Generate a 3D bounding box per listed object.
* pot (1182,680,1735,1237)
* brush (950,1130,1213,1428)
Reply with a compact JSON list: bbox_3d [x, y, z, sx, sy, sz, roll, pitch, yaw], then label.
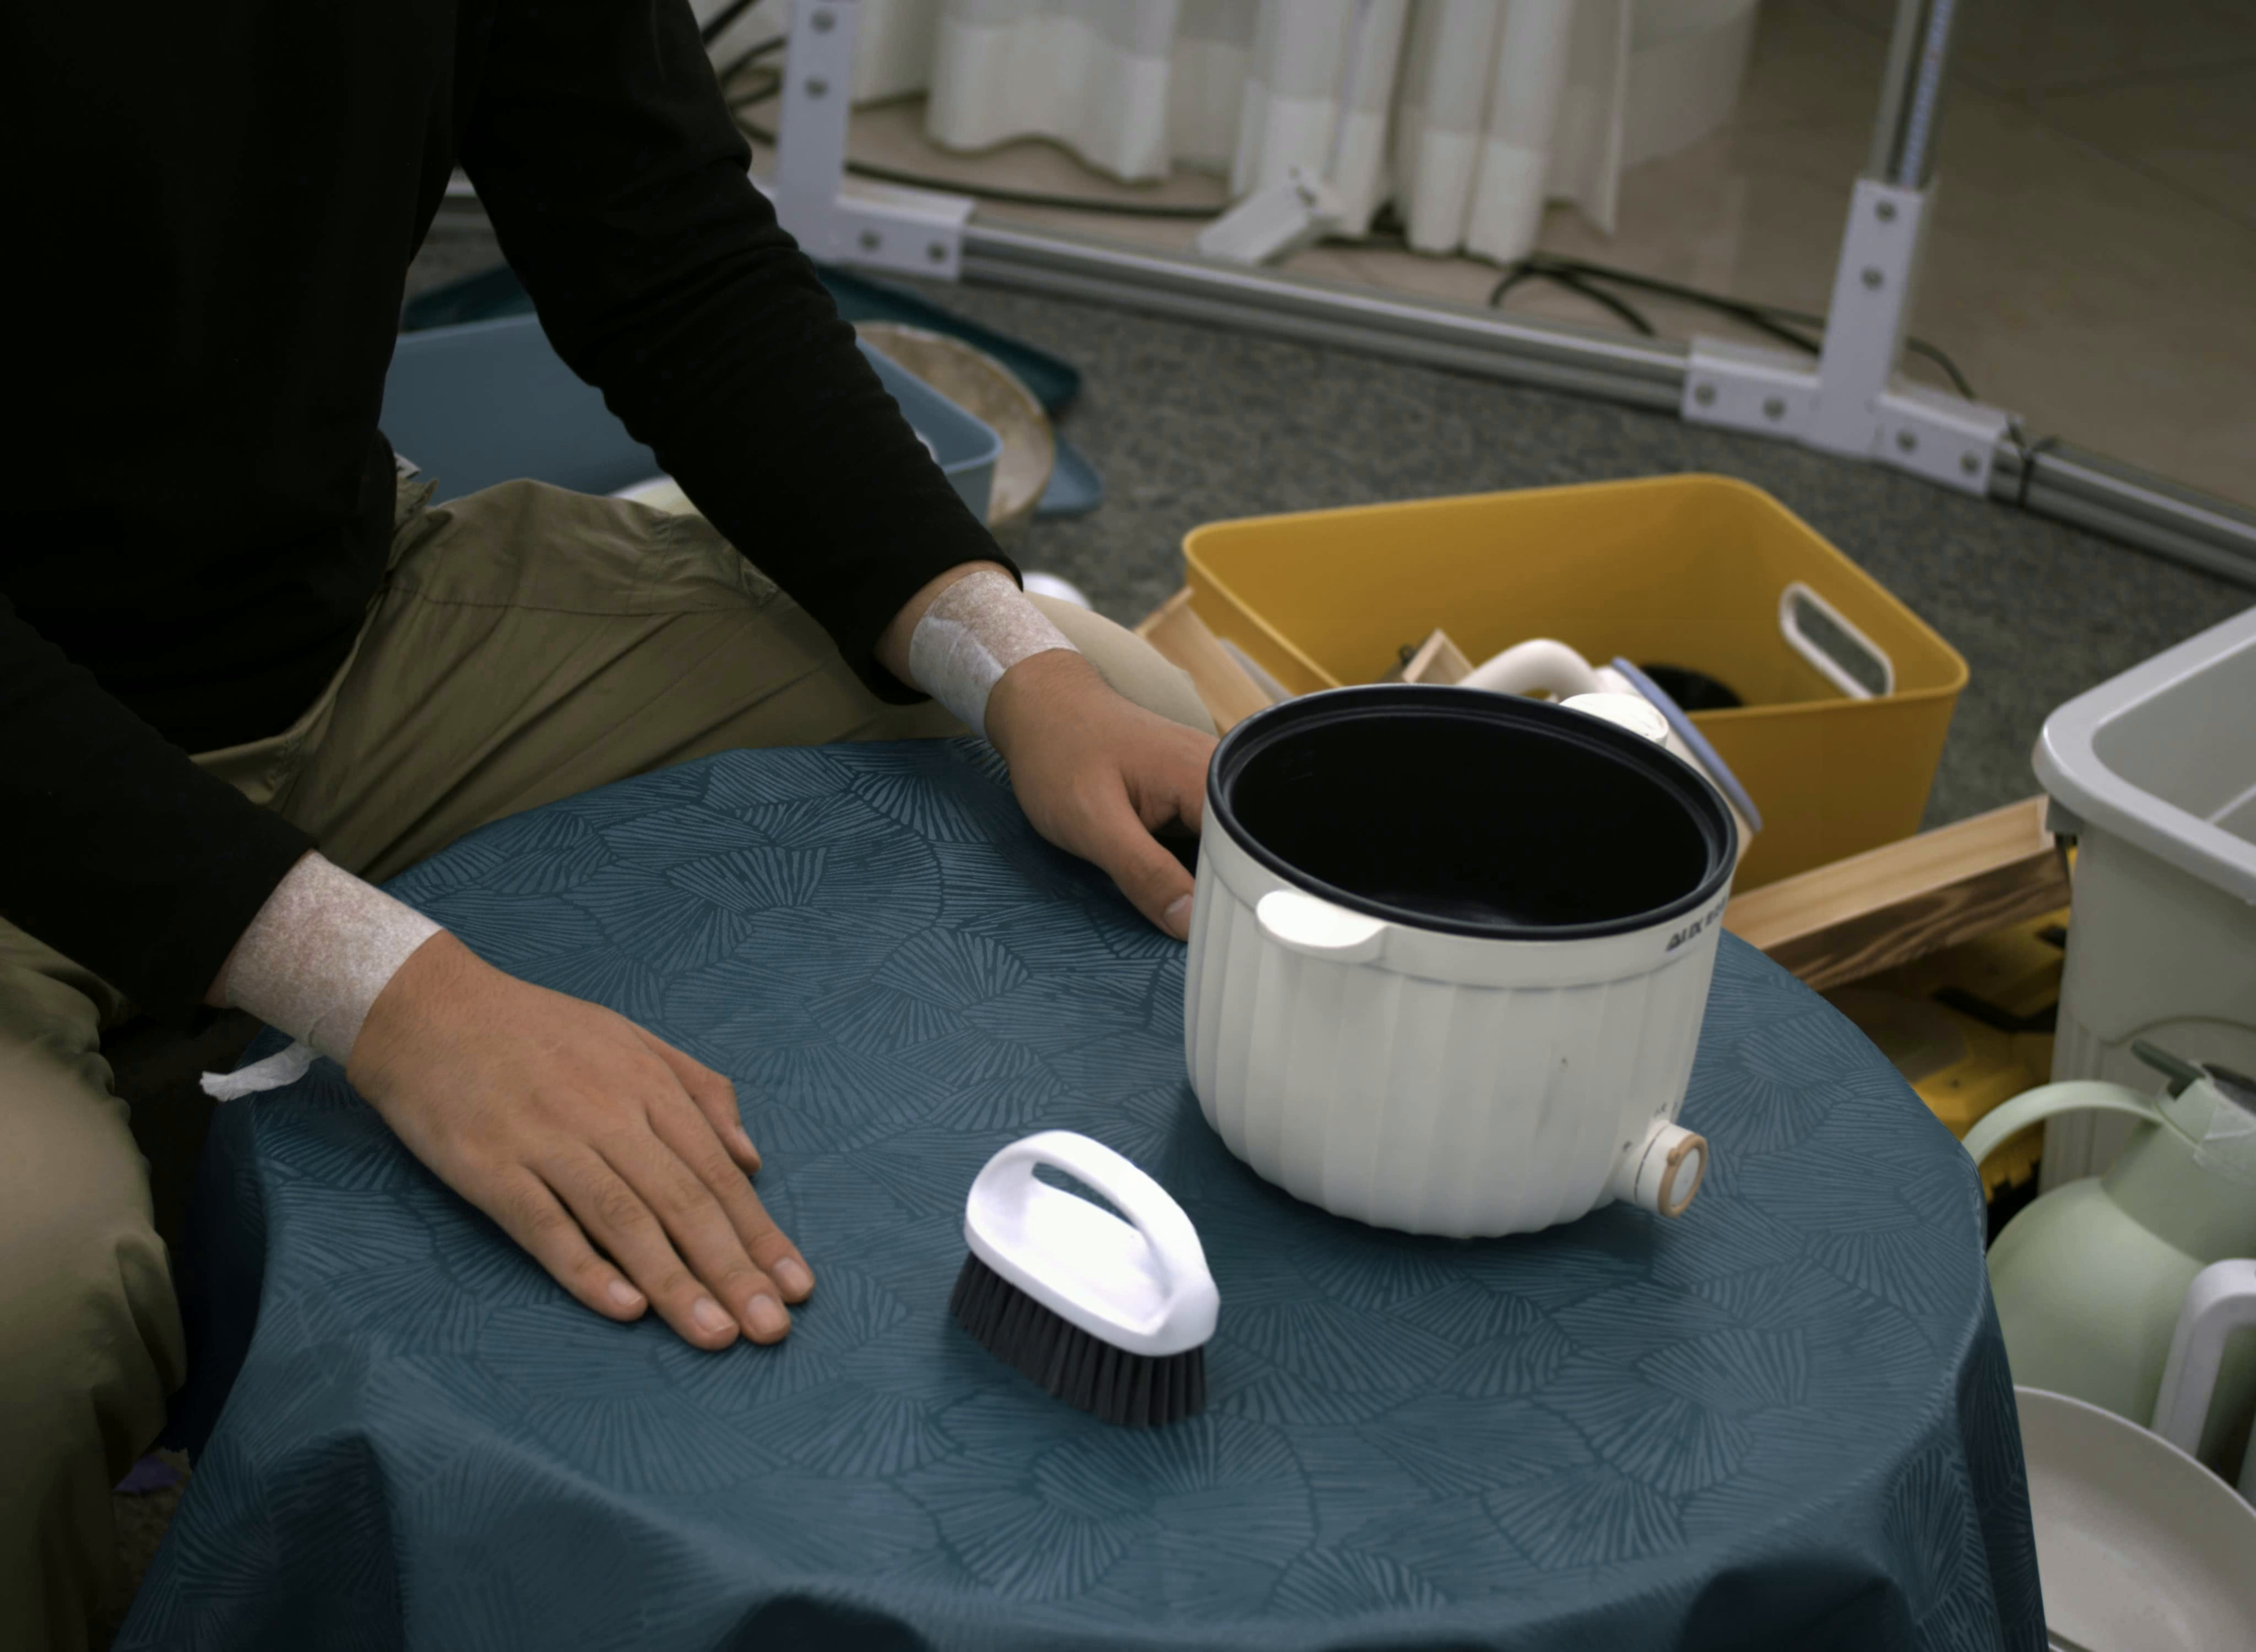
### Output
[{"bbox_3d":[0.113,0.051,1.818,0.191,0.142,0.240,18,30,28],"label":"pot"},{"bbox_3d":[-0.014,0.137,1.692,0.050,0.072,0.100,-17,35,-40],"label":"brush"}]
